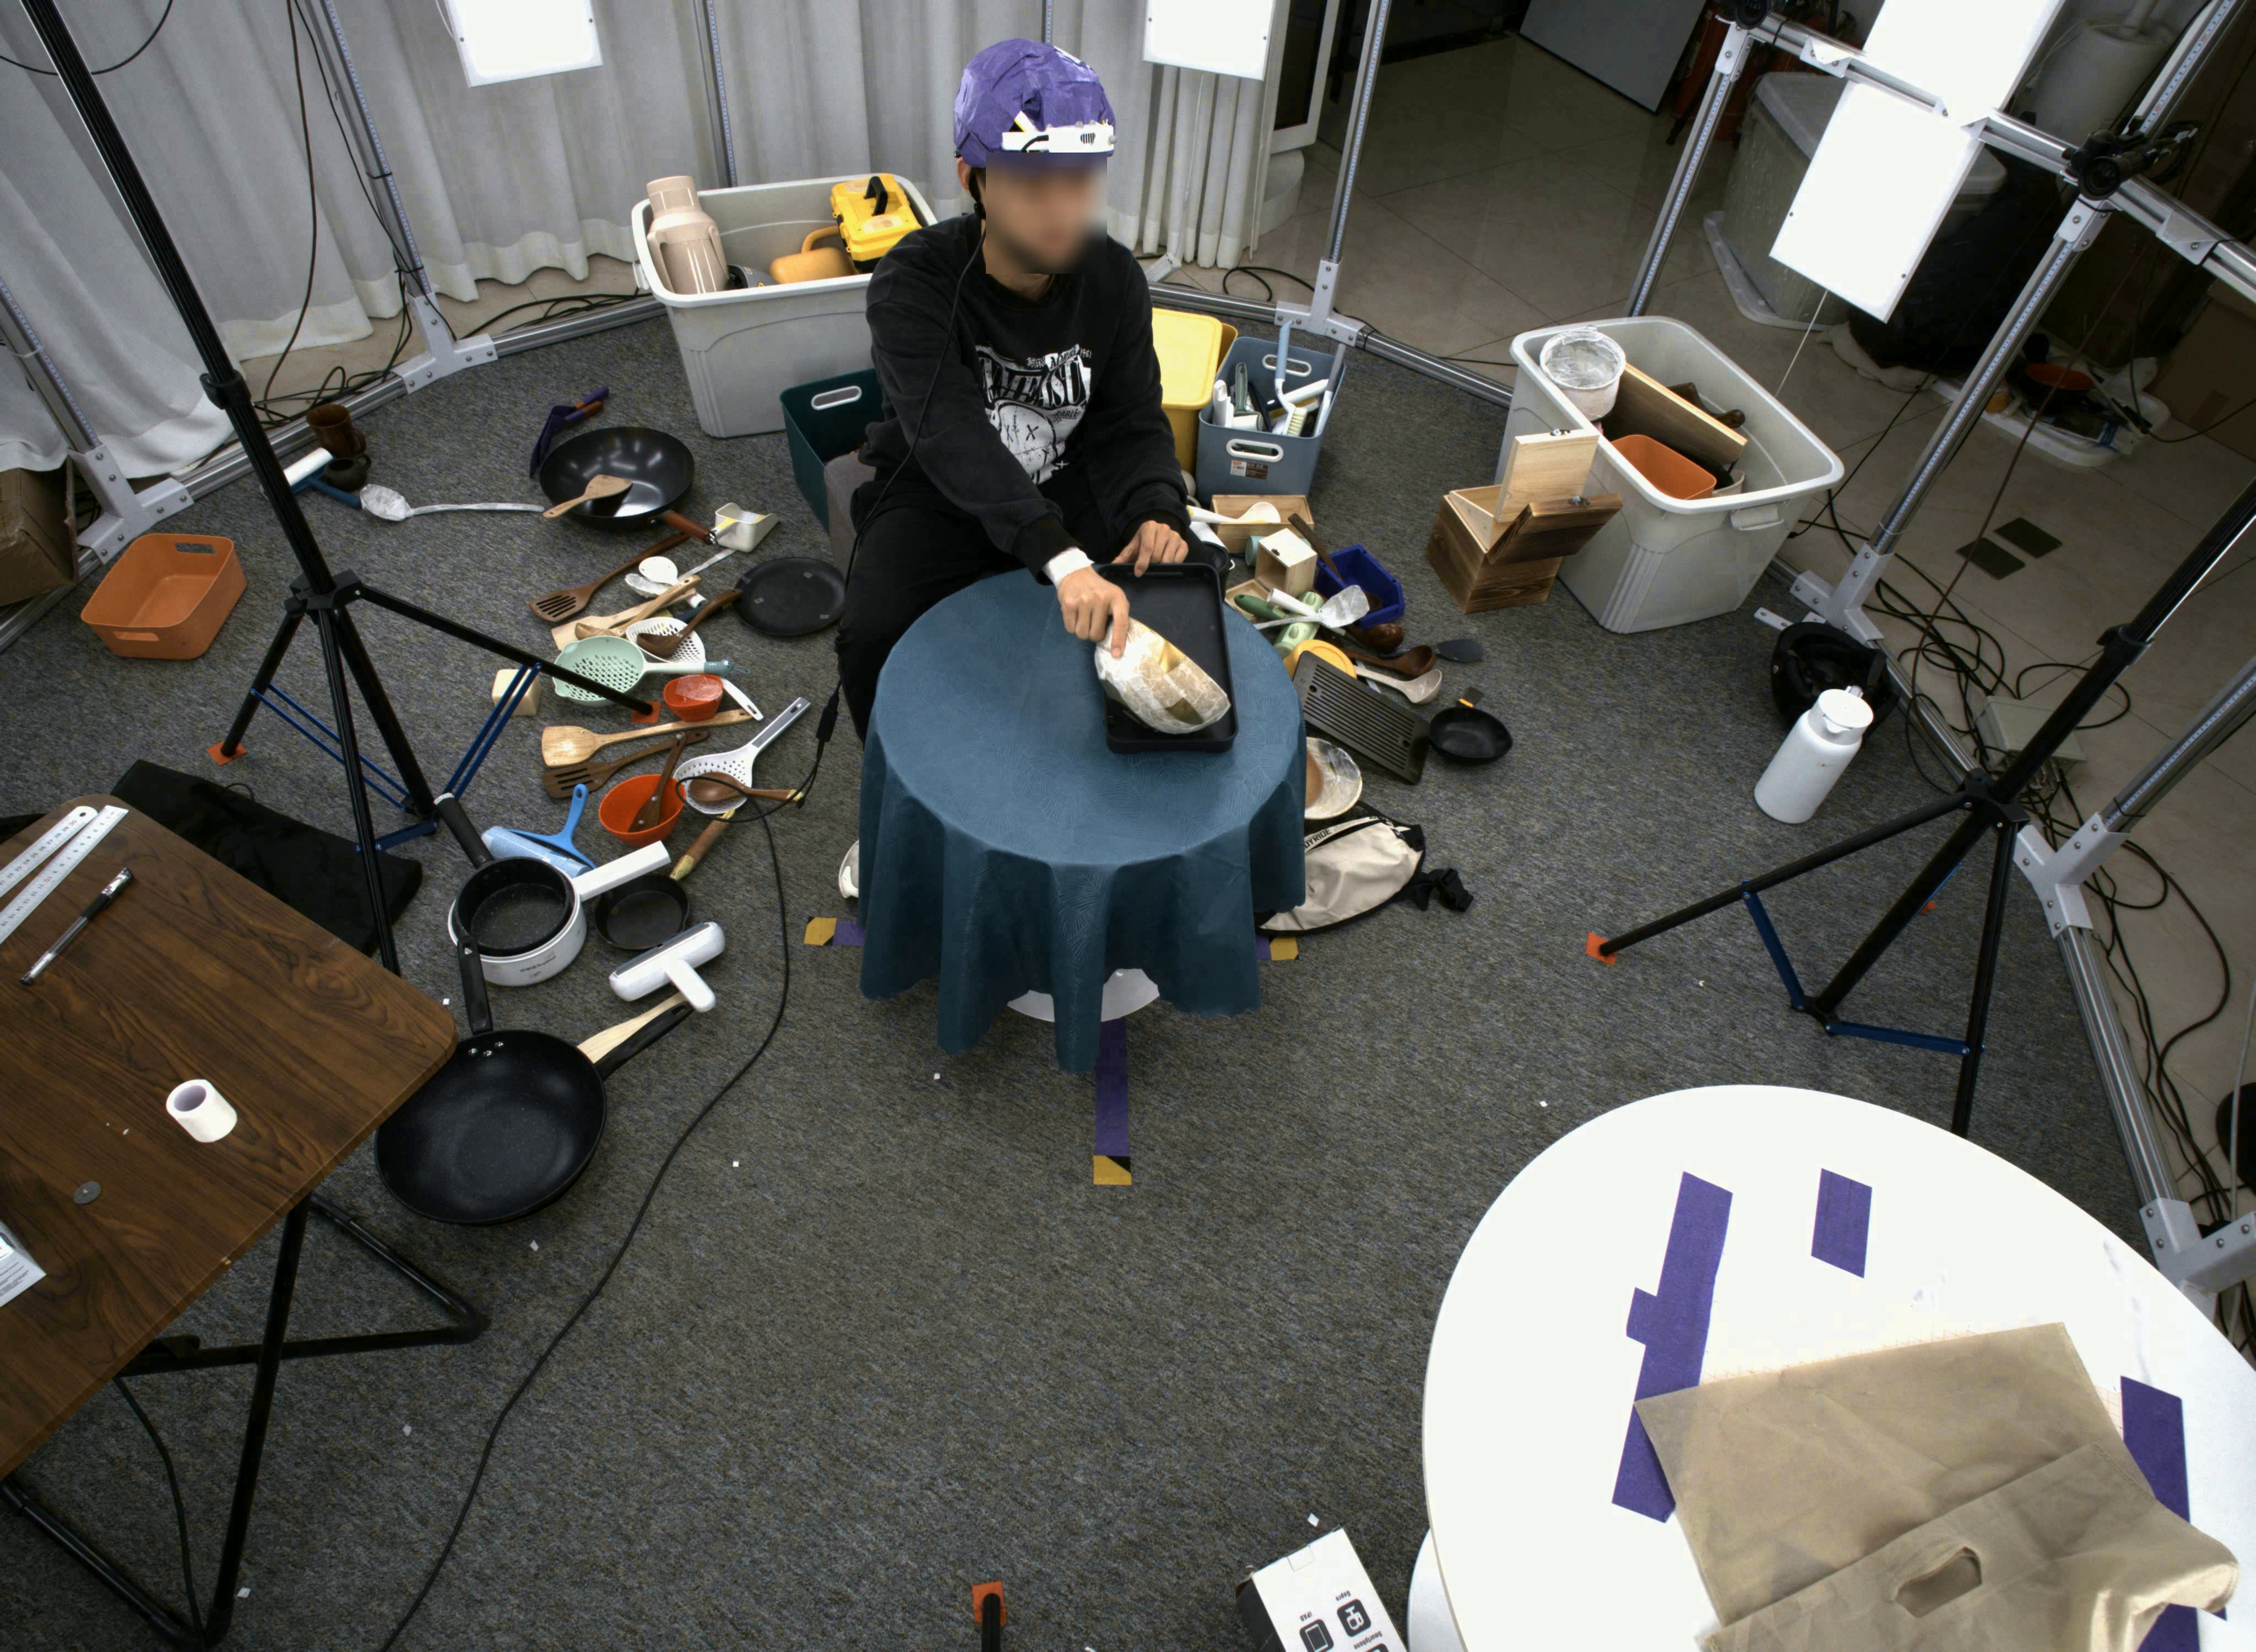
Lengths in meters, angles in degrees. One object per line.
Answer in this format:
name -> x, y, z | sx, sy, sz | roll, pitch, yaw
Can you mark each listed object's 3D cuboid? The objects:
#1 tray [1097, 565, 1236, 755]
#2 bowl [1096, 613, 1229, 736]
tray -> 0.051, -0.243, 1.845 | 0.184, 0.036, 0.325 | 0, 58, -5
bowl -> 0.028, -0.188, 1.728 | 0.218, 0.211, 0.095 | 38, 87, 25
